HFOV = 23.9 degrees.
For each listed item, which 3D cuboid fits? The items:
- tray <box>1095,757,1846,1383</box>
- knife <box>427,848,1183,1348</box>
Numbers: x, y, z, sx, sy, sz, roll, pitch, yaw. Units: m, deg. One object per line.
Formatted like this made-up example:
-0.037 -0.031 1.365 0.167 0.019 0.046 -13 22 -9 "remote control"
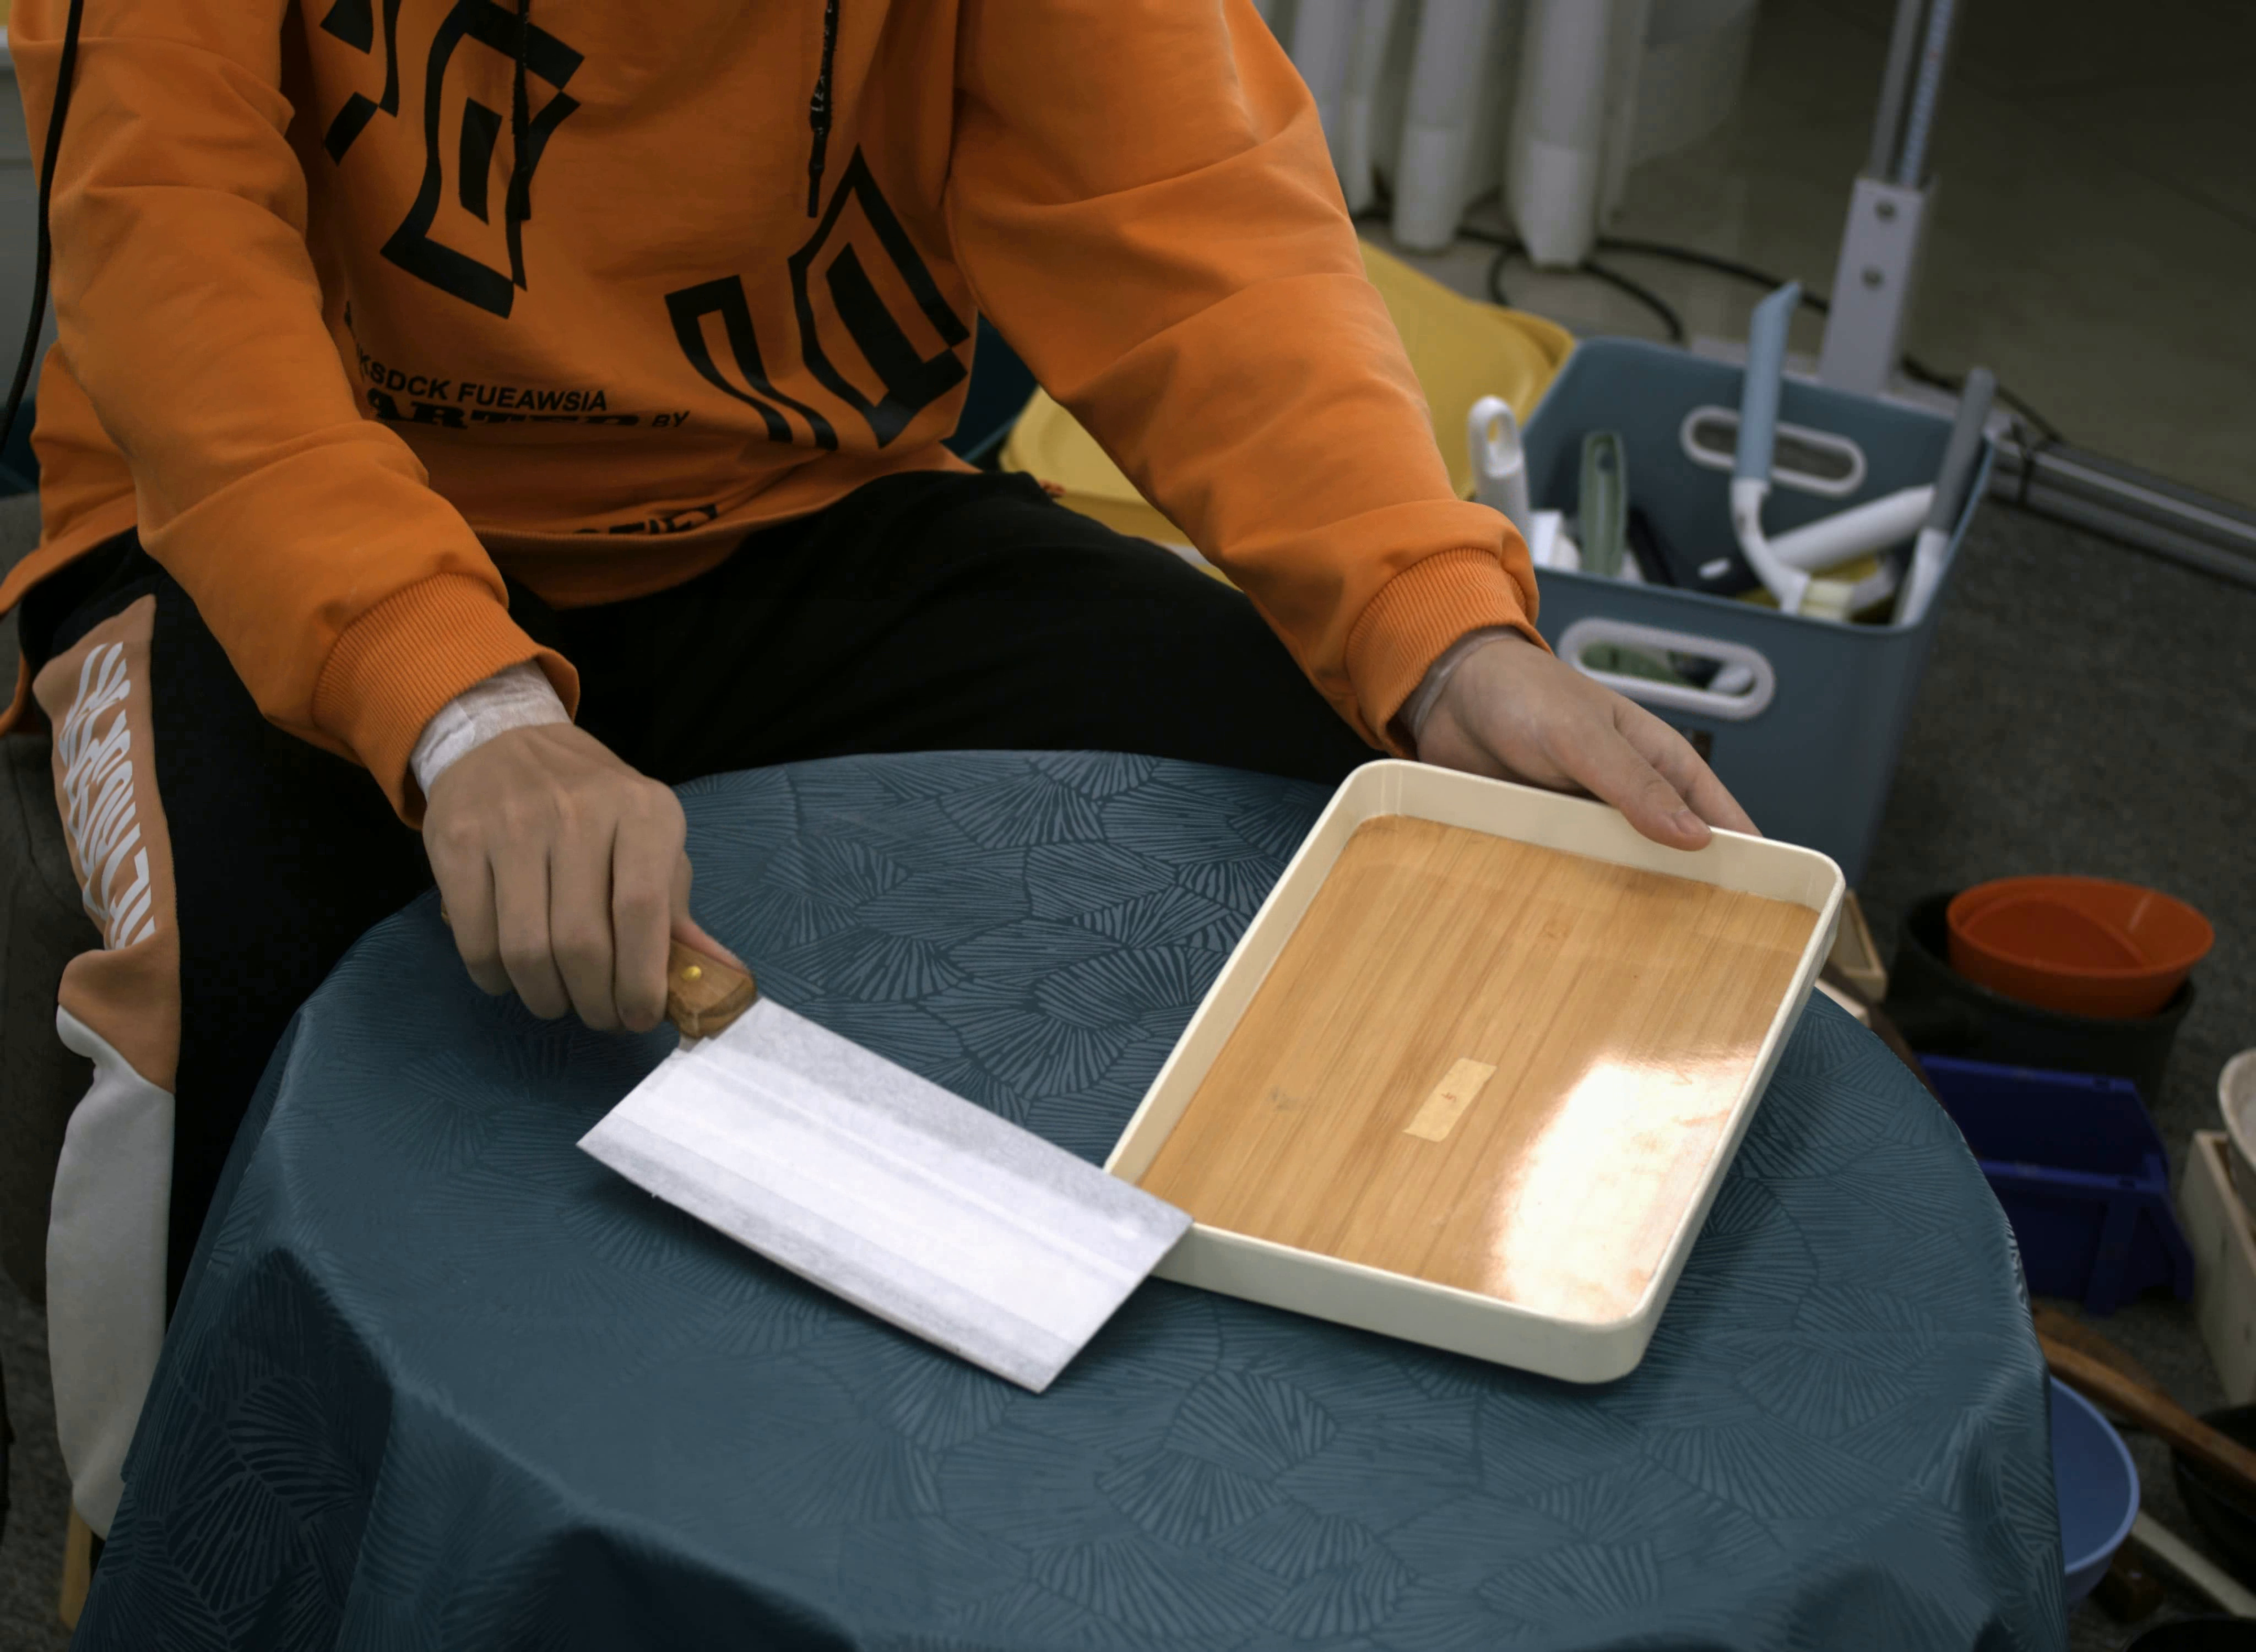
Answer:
0.124 0.078 1.844 0.192 0.027 0.301 12 35 17 "tray"
-0.127 0.093 1.775 0.307 0.021 0.093 26 51 25 "knife"
